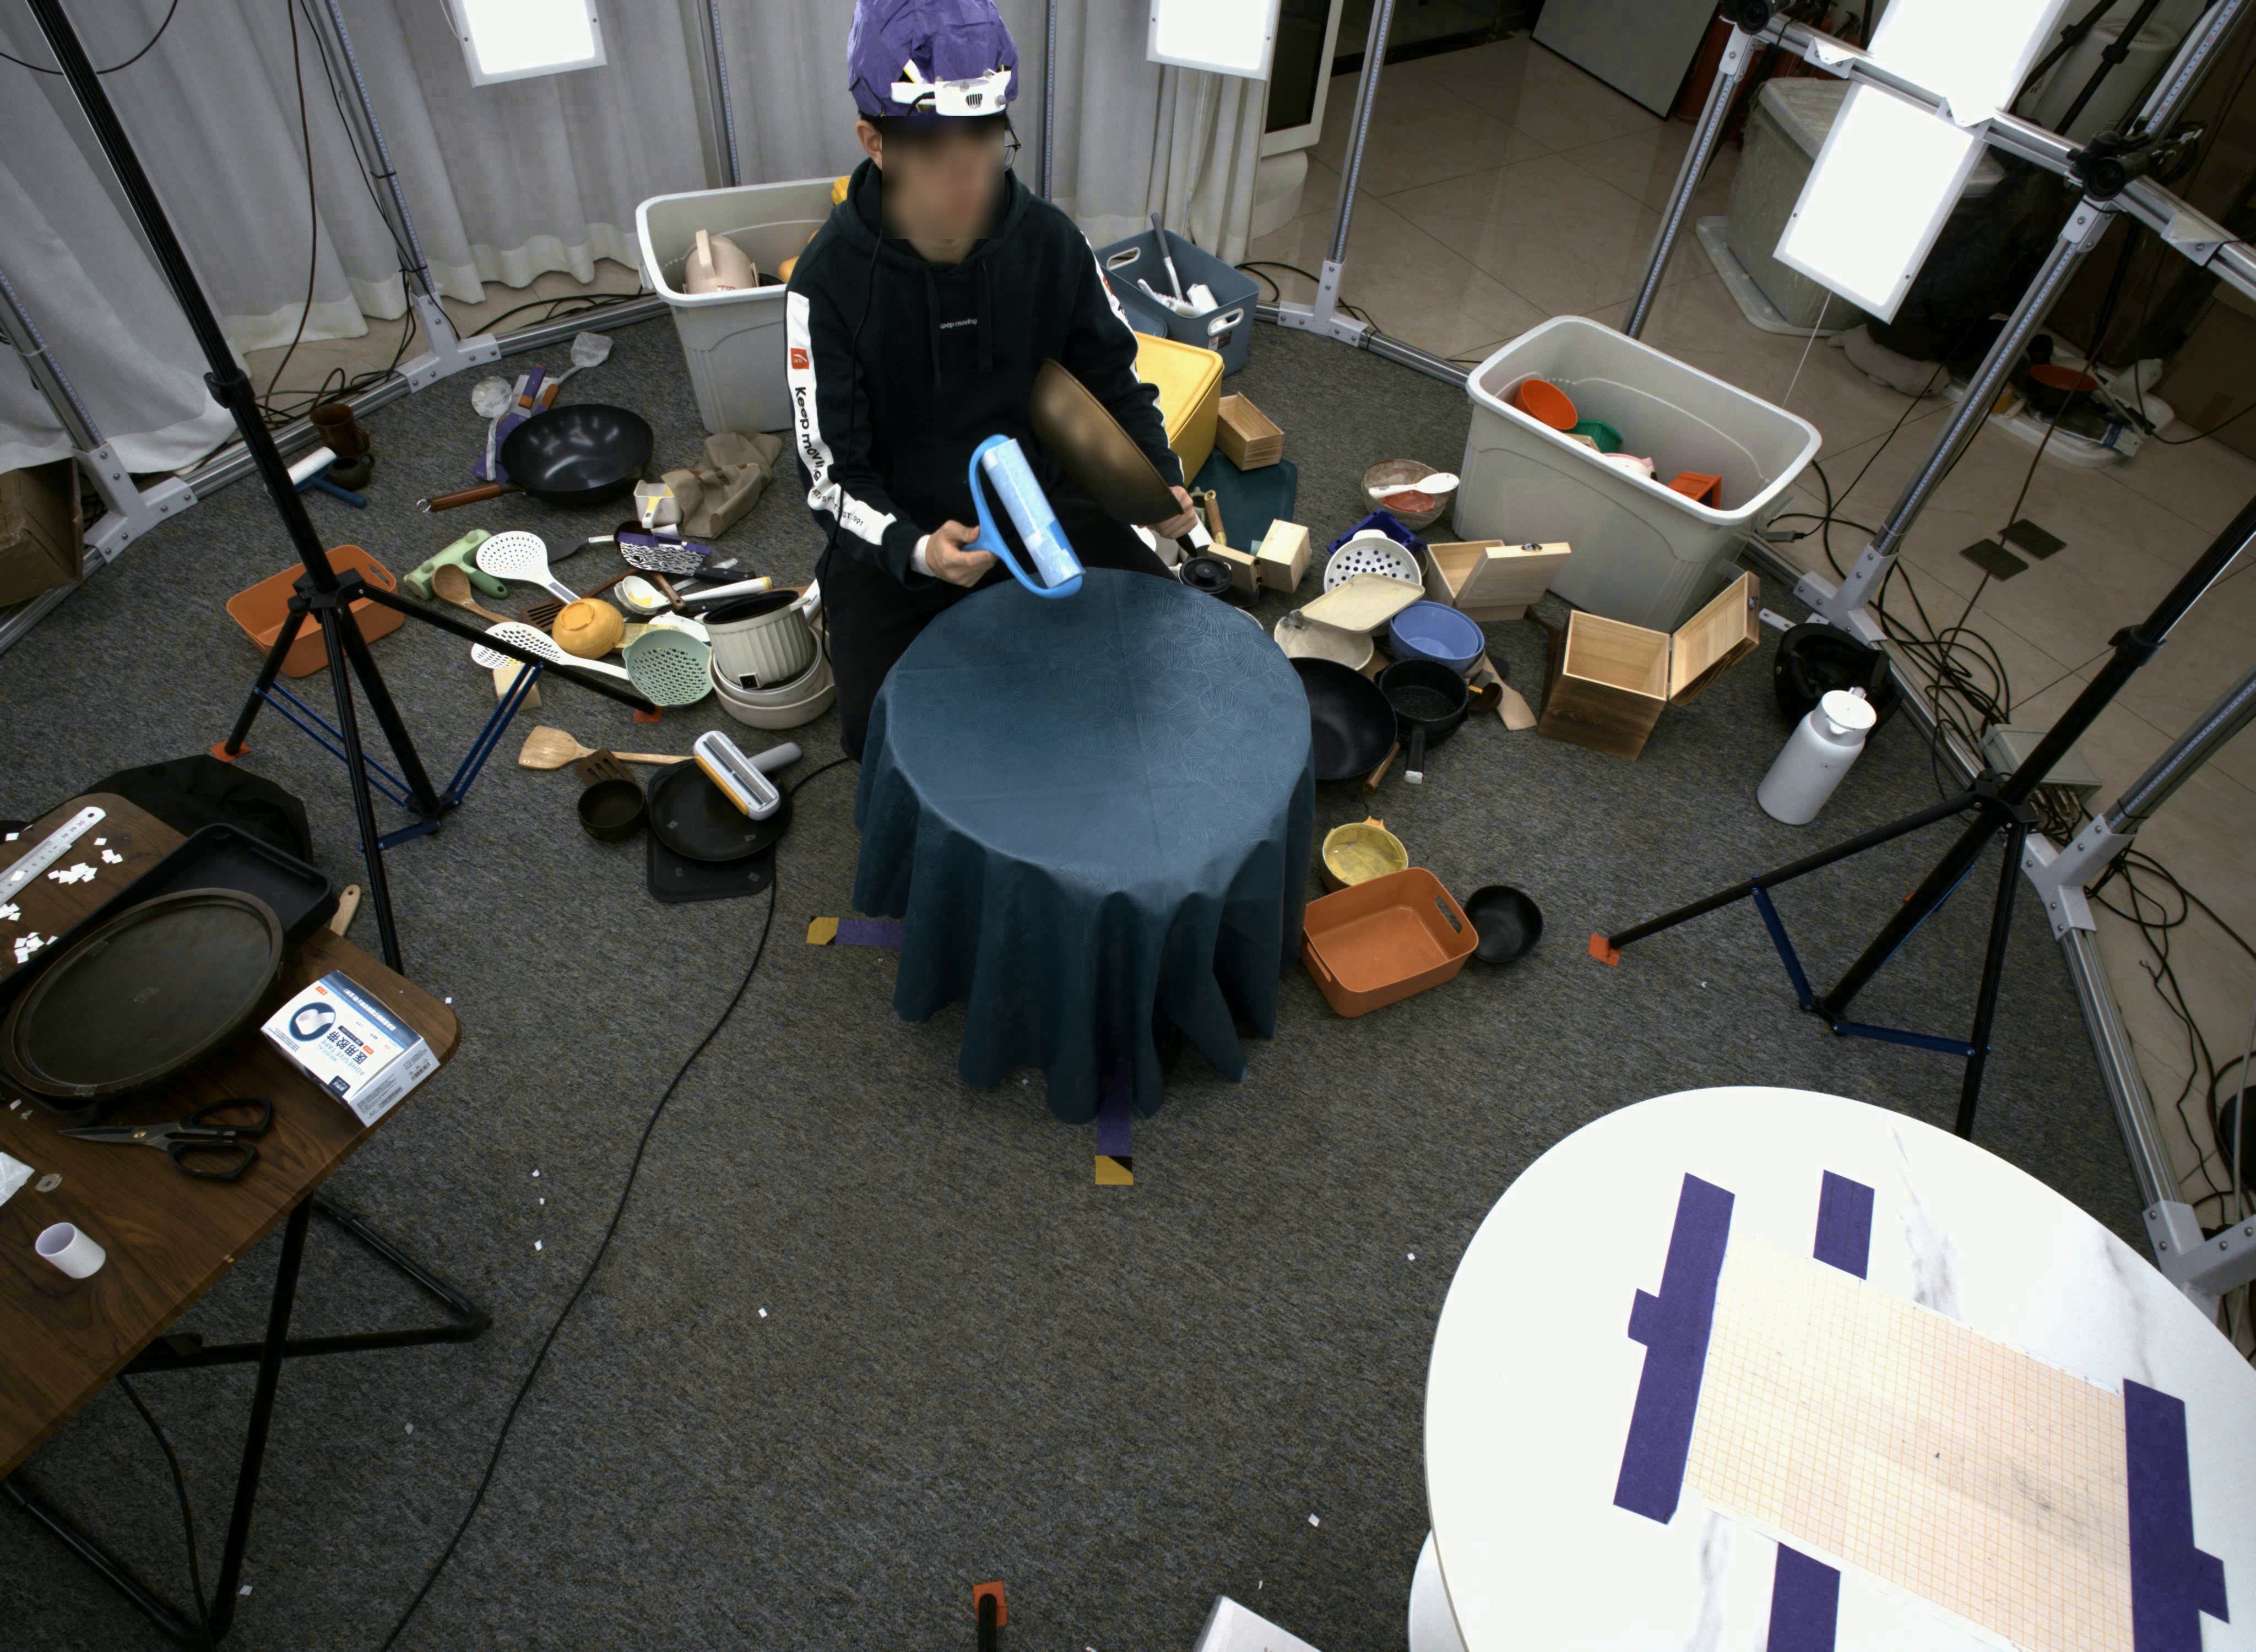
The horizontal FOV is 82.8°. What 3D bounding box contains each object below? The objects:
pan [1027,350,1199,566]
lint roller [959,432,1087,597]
[{"bbox_3d":[-0.013,-0.480,1.852,0.087,0.455,0.294,-43,59,4],"label":"pan"},{"bbox_3d":[-0.168,-0.383,1.711,0.228,0.179,0.069,57,33,-5],"label":"lint roller"}]
